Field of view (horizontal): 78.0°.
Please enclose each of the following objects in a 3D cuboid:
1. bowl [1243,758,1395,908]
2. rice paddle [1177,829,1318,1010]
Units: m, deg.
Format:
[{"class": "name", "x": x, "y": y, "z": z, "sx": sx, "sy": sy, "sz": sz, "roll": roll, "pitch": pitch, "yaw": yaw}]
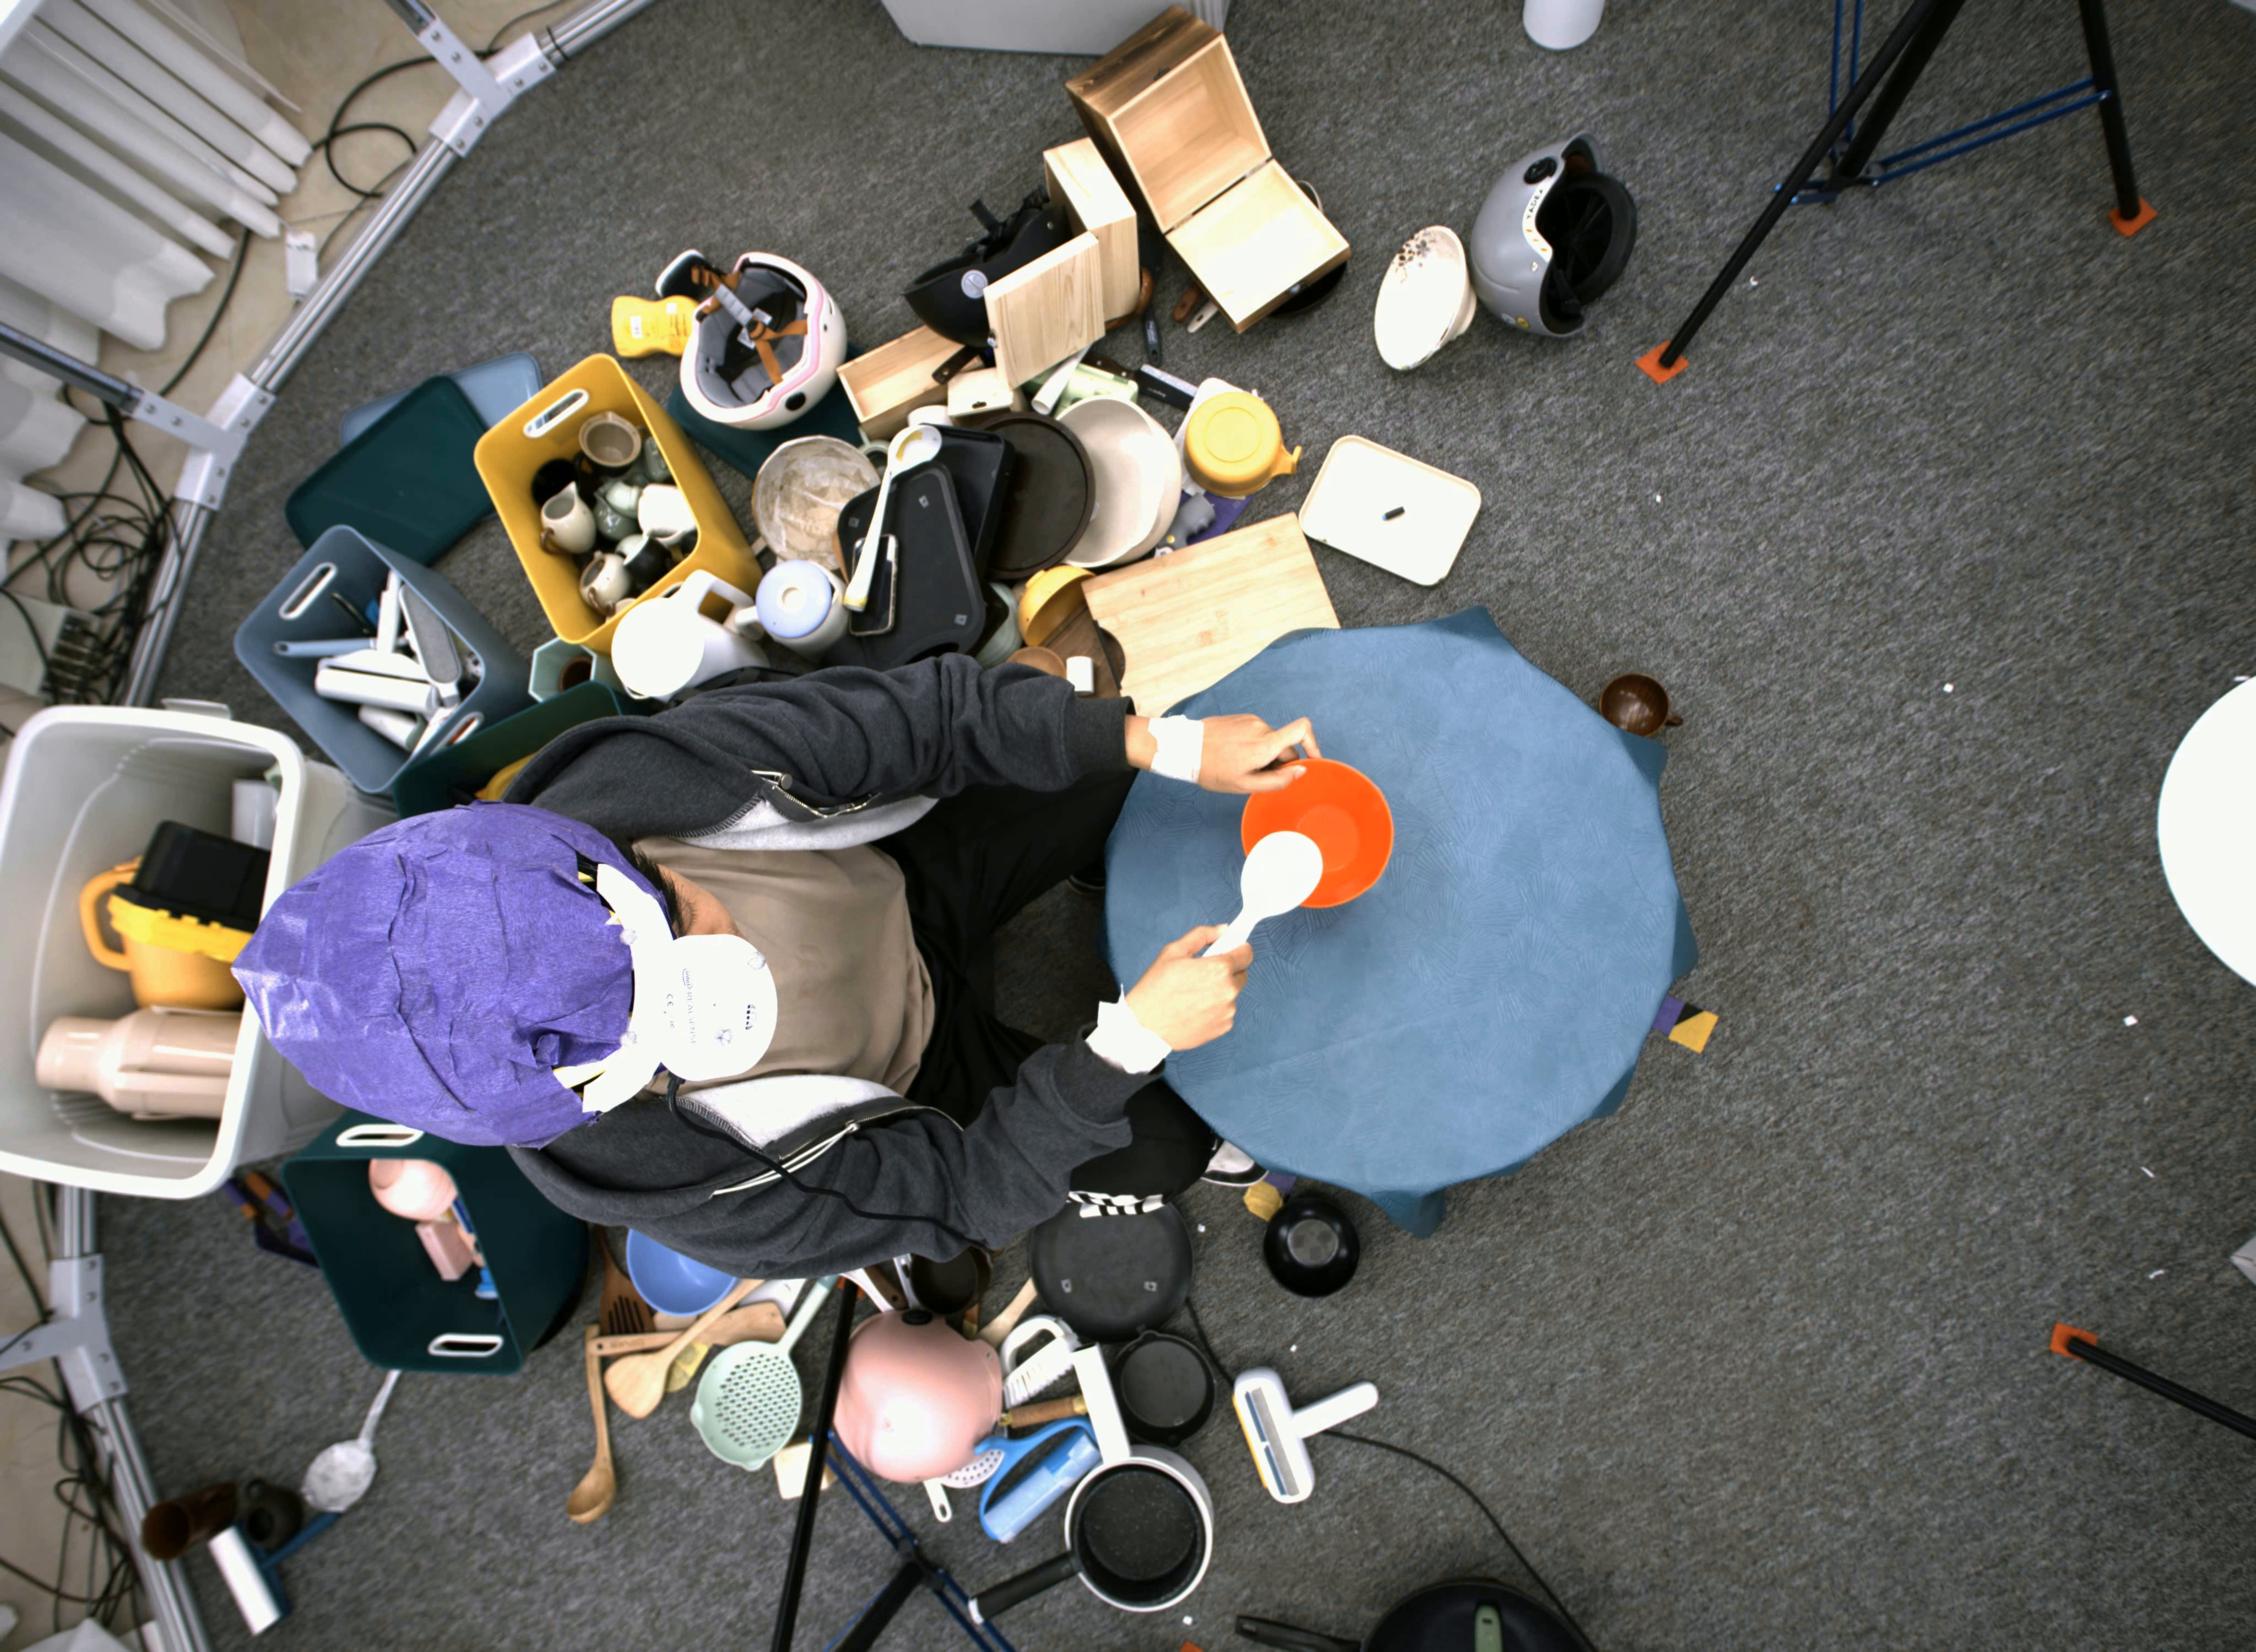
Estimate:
[{"class": "bowl", "x": 0.193, "y": 0.004, "z": 1.378, "sx": 0.148, "sy": 0.104, "sz": 0.148, "roll": 1, "pitch": 96, "yaw": 13}, {"class": "rice paddle", "x": 0.111, "y": 0.080, "z": 1.275, "sx": 0.068, "sy": 0.030, "sz": 0.201, "roll": 32, "pitch": 66, "yaw": 10}]
